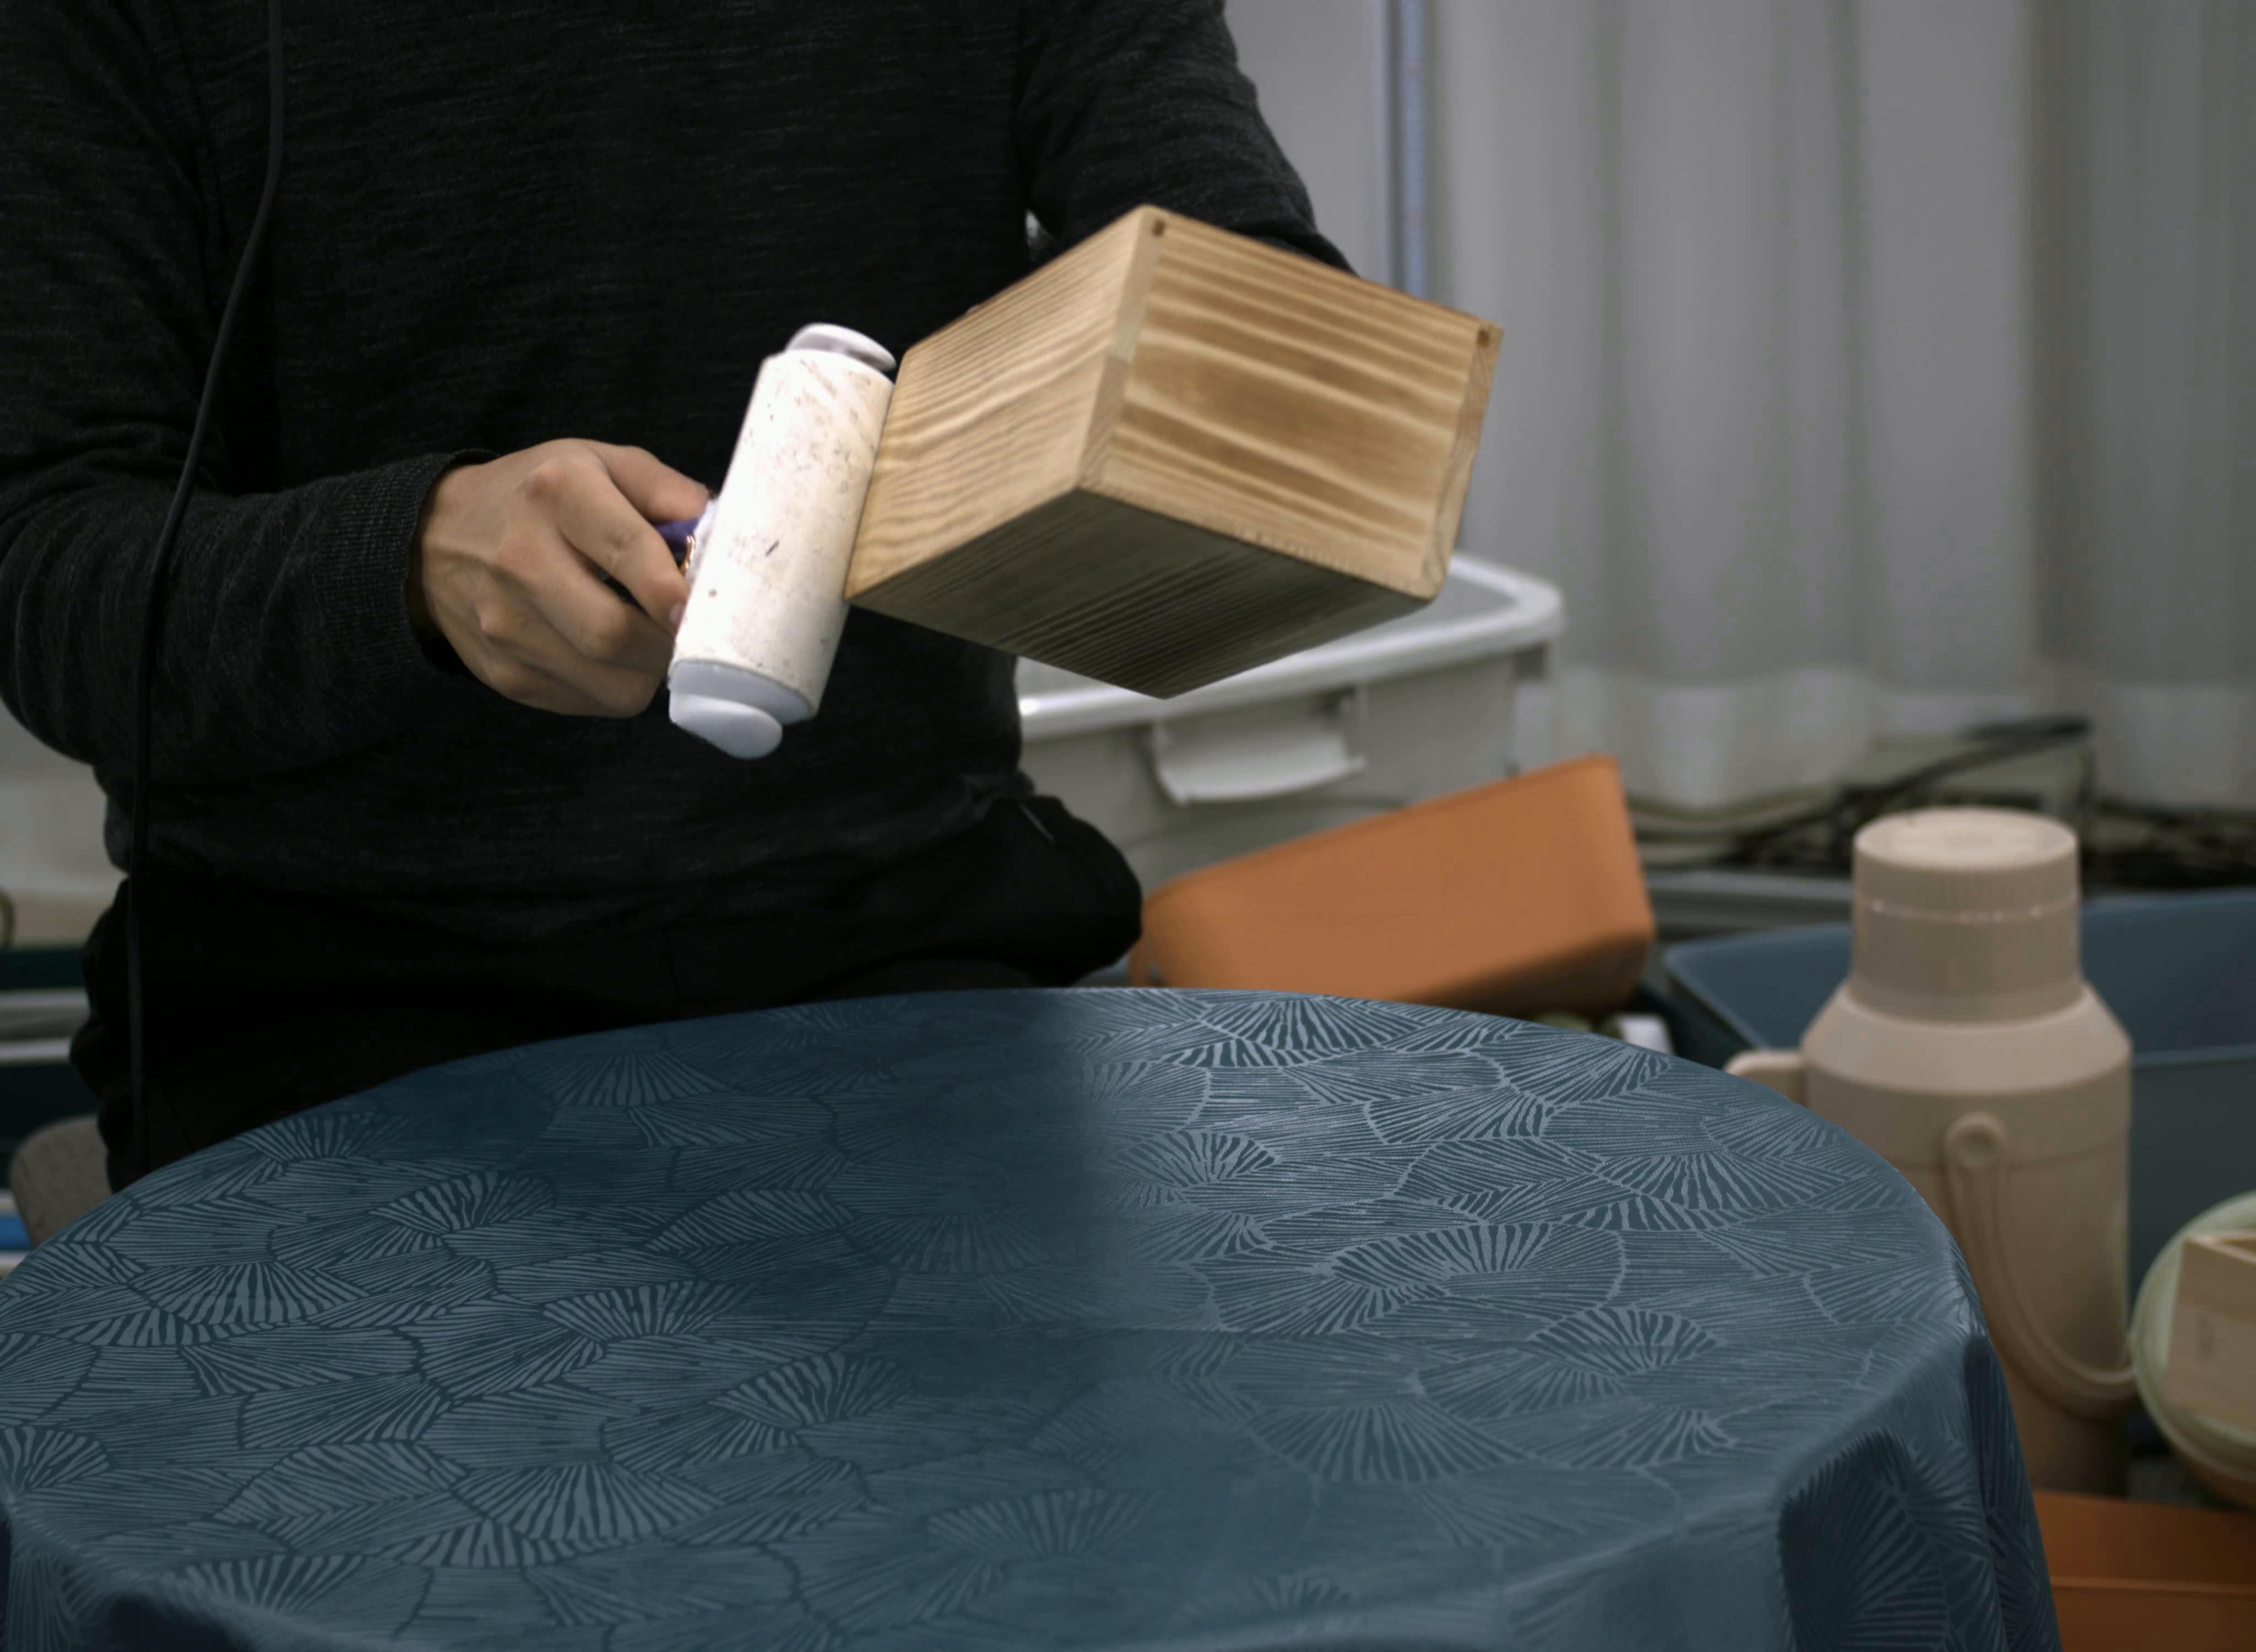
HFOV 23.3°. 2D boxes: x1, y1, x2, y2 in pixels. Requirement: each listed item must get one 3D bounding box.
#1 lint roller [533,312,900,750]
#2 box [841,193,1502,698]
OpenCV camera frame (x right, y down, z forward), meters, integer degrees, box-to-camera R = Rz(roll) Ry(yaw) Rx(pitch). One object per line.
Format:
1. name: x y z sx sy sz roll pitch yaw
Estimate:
1. lint roller: -0.142 -0.086 1.670 0.049 0.134 0.181 26 -18 -36
2. box: 0.008 -0.101 1.530 0.107 0.081 0.211 18 -12 -18
